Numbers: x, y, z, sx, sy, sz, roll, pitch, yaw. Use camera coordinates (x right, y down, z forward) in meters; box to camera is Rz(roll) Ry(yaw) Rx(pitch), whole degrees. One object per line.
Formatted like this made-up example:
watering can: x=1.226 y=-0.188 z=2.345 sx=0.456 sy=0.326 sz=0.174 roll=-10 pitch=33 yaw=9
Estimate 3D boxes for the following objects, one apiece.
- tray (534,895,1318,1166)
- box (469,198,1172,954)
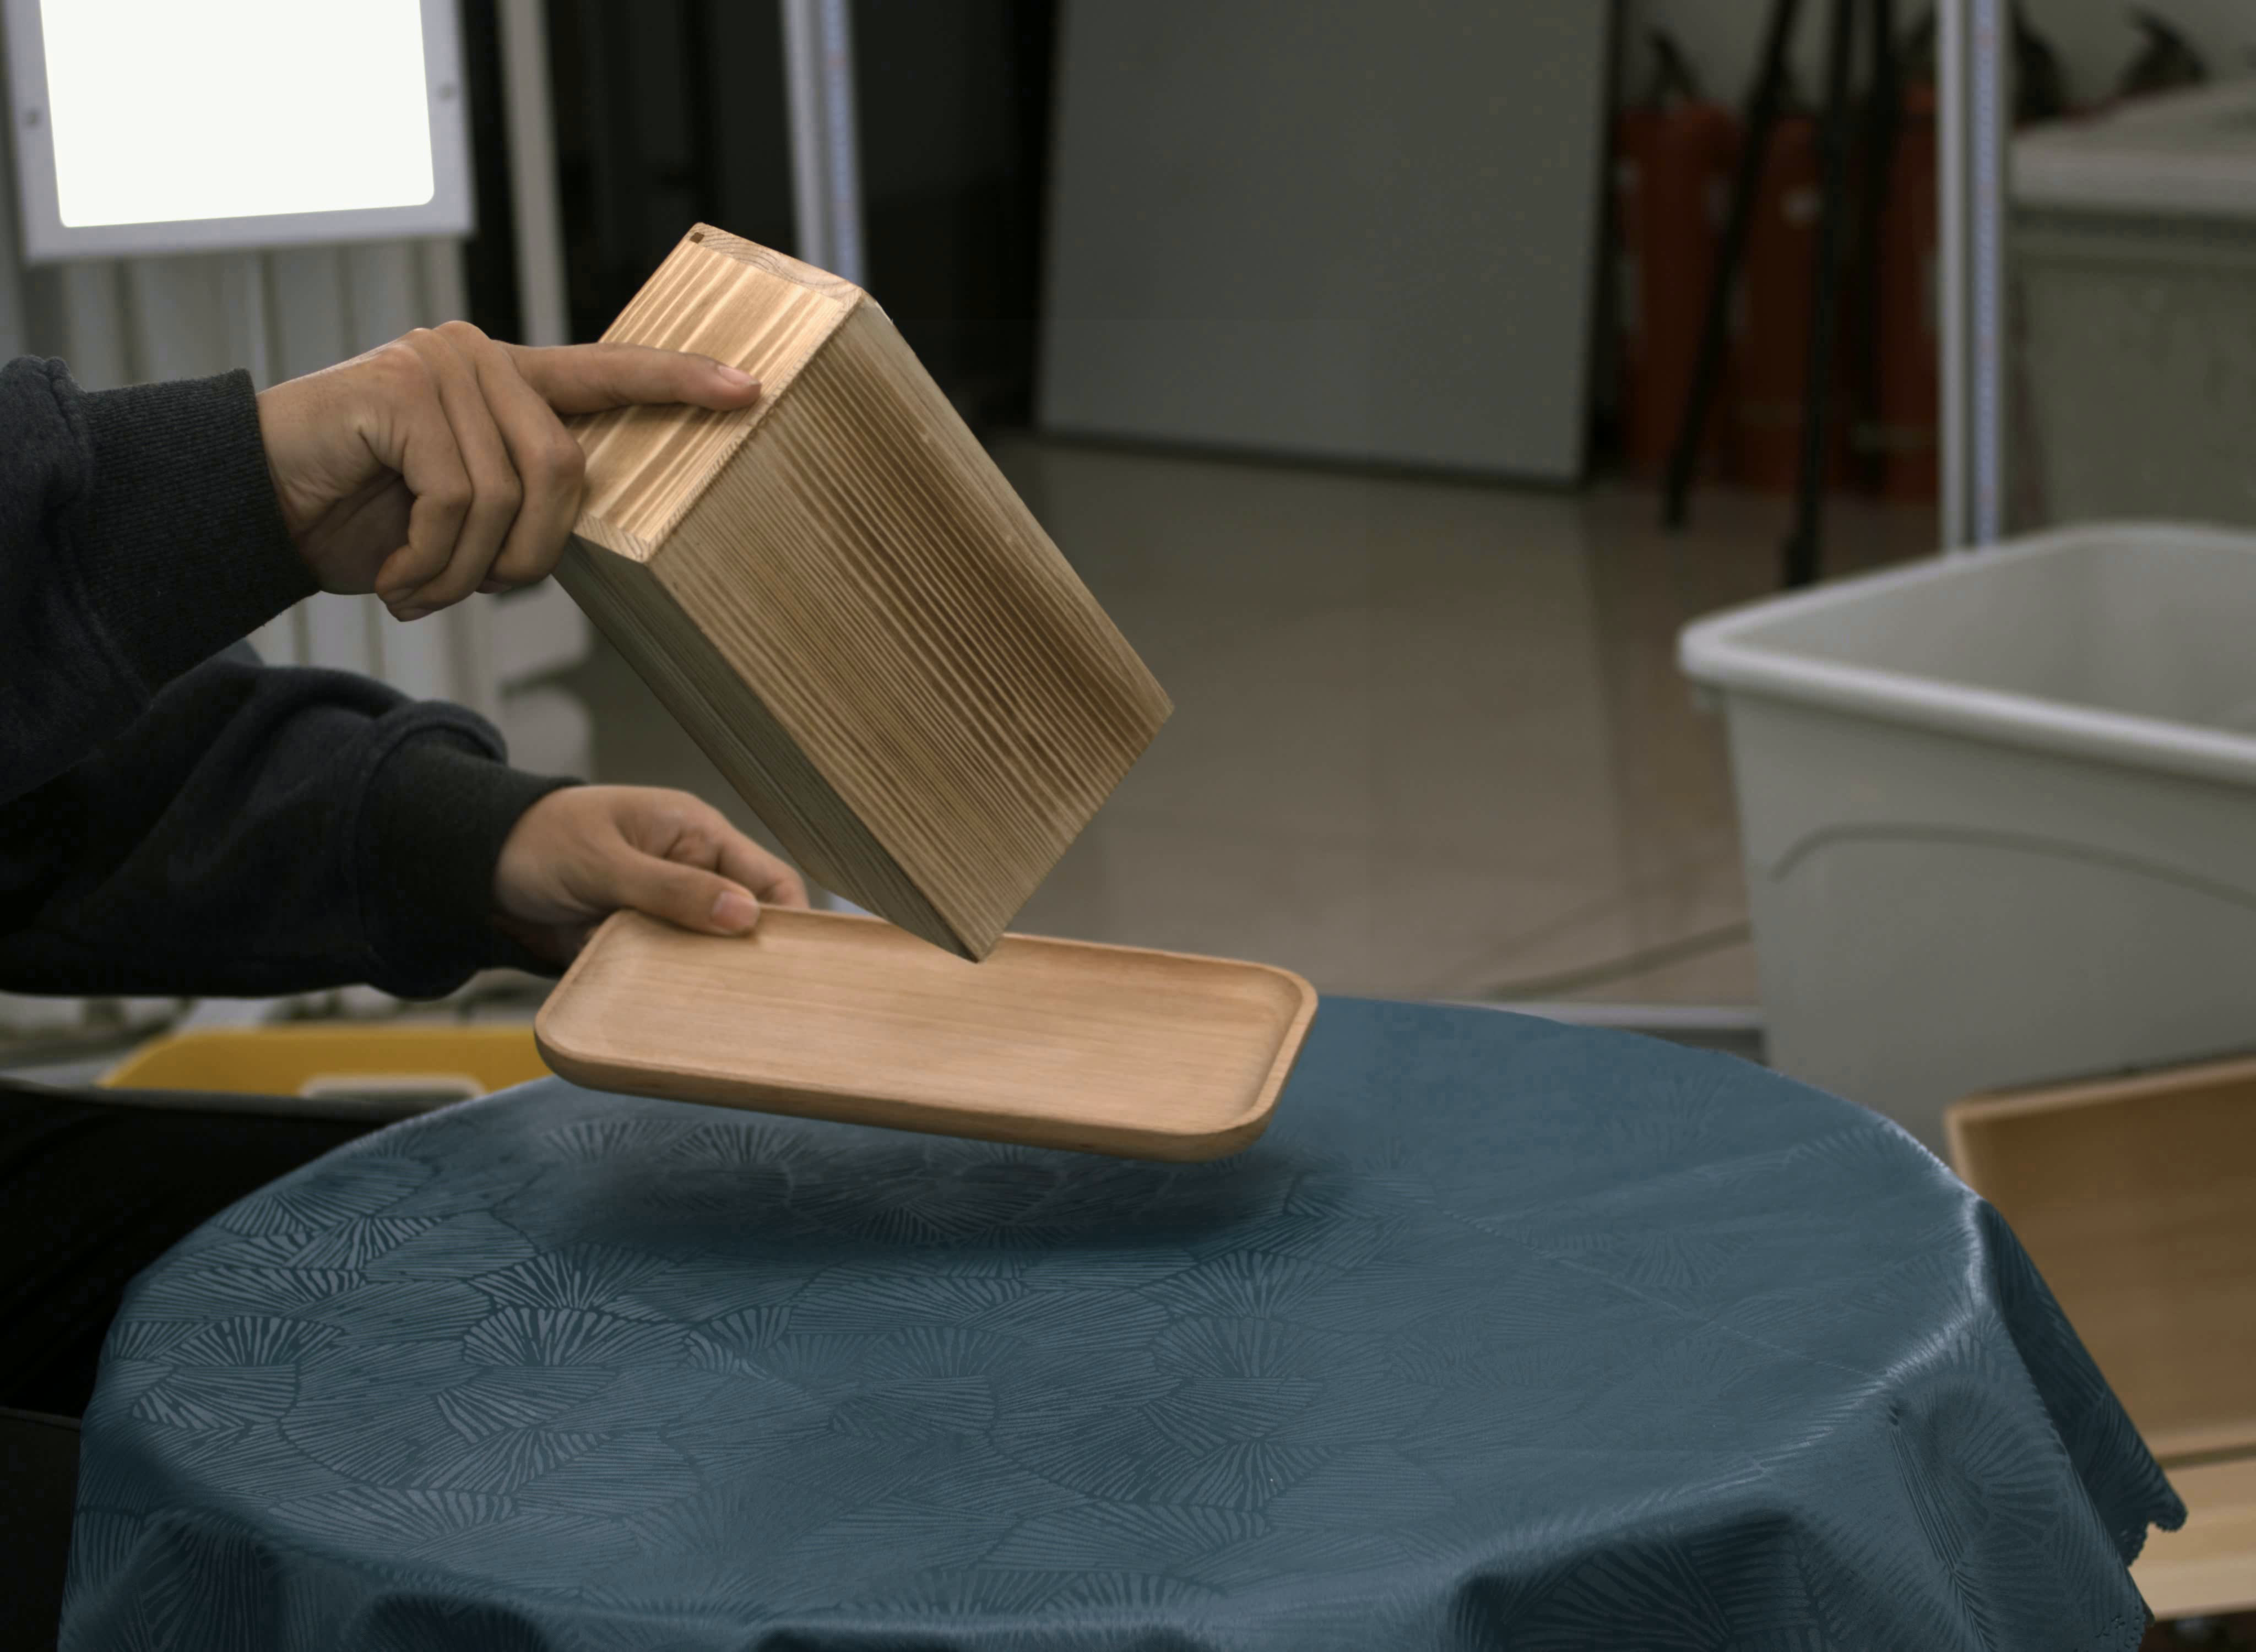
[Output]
tray: x=-0.066 y=0.067 z=1.783 sx=0.249 sy=0.023 sz=0.130 roll=6 pitch=23 yaw=14
box: x=-0.088 y=-0.072 z=1.616 sx=0.081 sy=0.209 sz=0.107 roll=26 pitch=71 yaw=43
